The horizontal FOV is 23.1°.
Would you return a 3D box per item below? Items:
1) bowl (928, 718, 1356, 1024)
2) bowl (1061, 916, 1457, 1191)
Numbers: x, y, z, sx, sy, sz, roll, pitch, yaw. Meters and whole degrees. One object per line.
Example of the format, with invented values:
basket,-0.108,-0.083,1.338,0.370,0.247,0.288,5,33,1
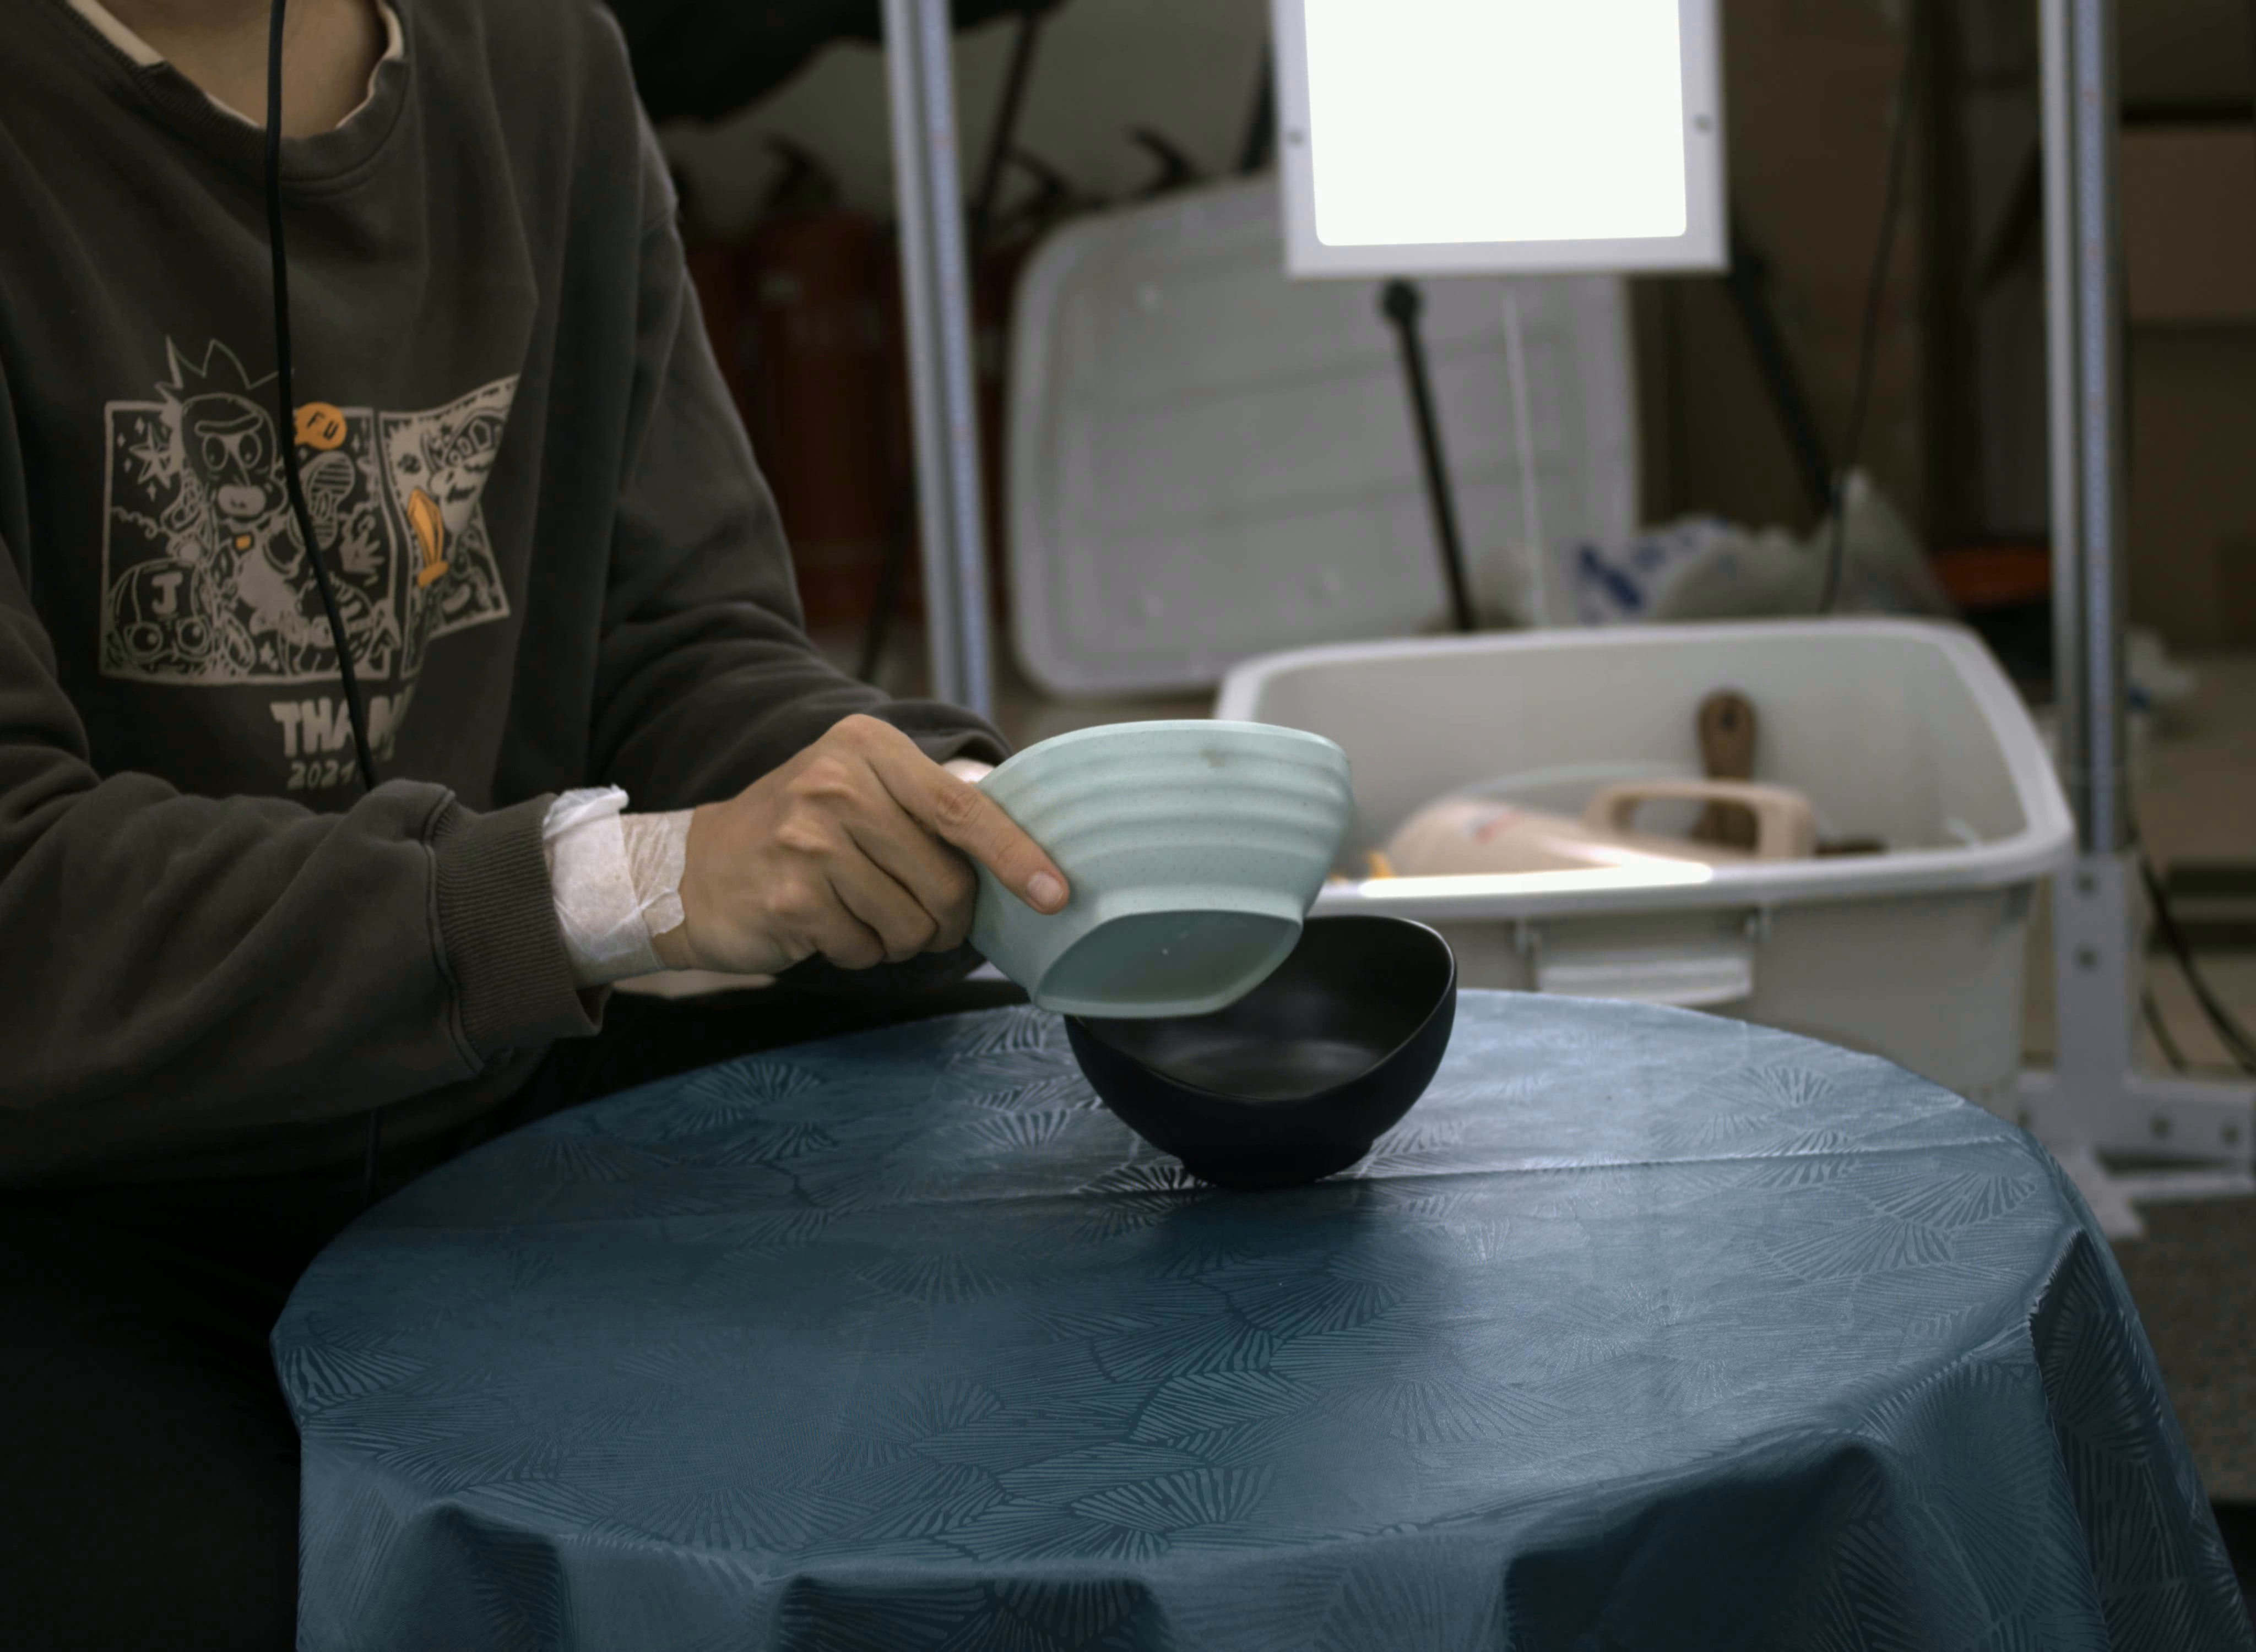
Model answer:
bowl,0.007,0.022,1.852,0.150,0.058,0.152,-4,-27,-4
bowl,0.049,0.083,1.899,0.136,0.067,0.171,-9,18,-4
